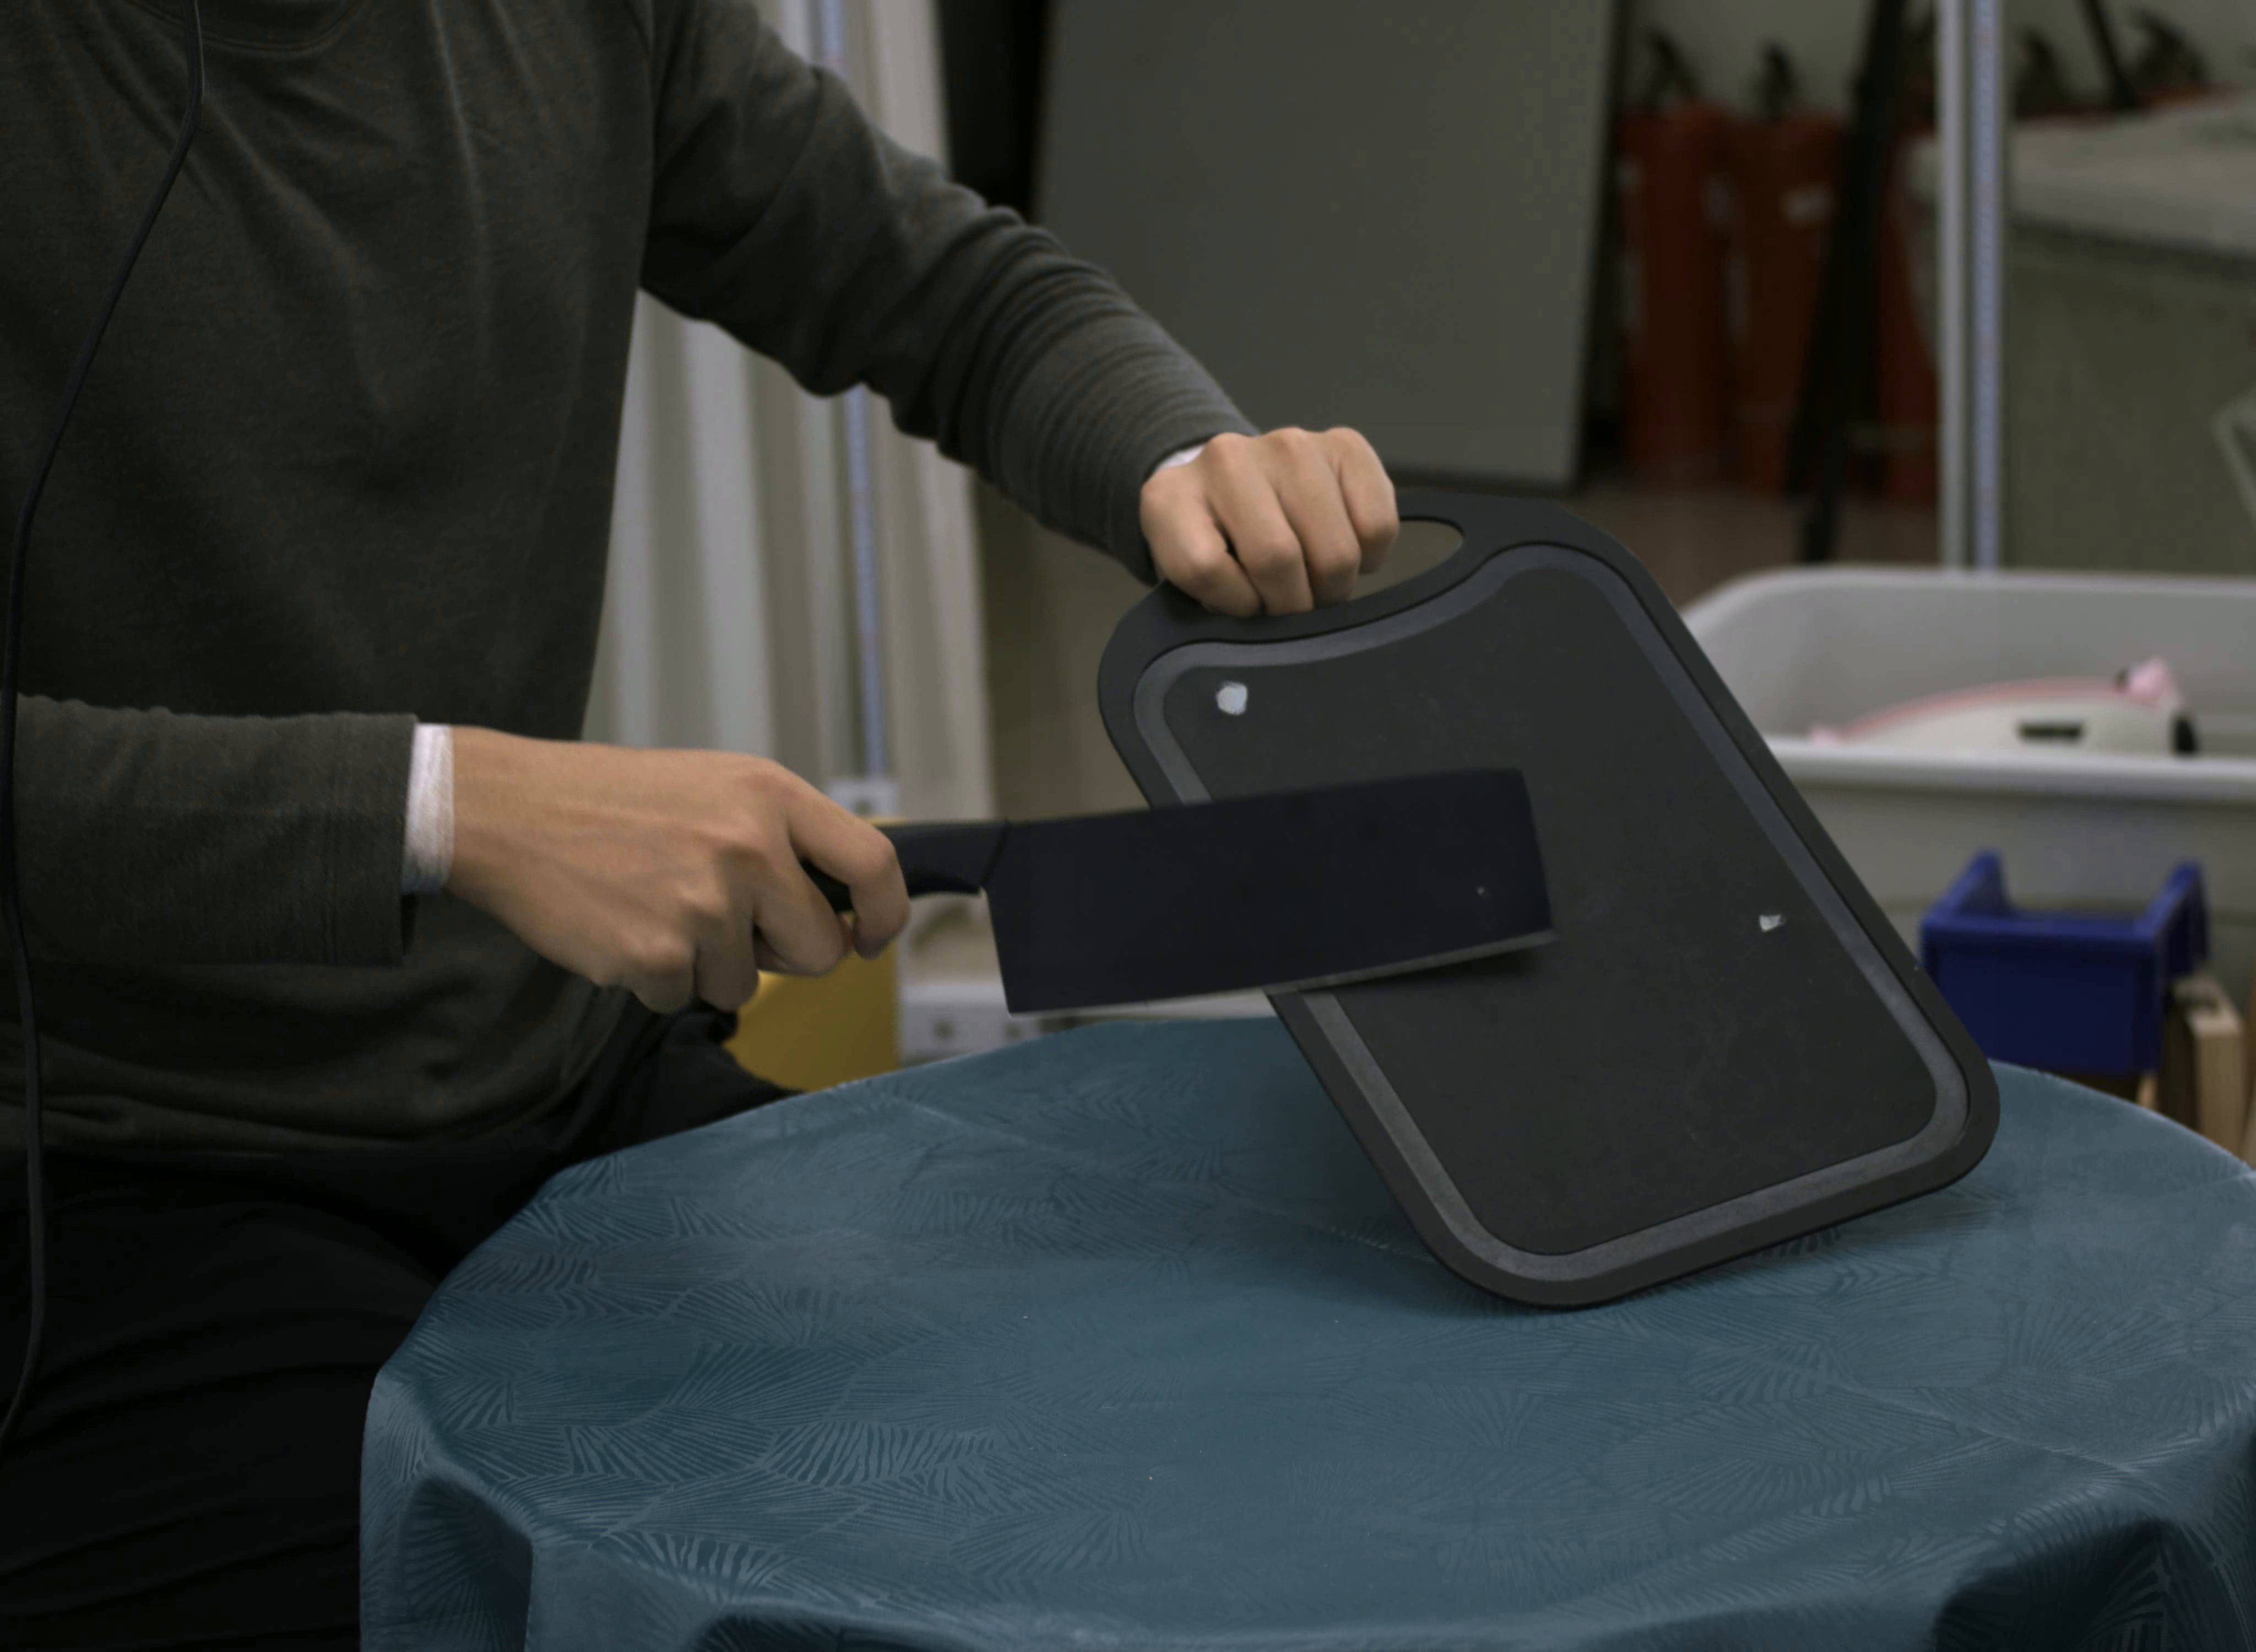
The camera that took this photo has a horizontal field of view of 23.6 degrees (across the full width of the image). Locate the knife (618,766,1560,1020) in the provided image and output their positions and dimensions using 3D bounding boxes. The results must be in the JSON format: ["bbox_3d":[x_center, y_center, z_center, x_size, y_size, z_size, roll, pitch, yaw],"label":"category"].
[{"bbox_3d":[-0.012,0.024,1.704,0.297,0.082,0.021,-3,-24,-5],"label":"knife"}]

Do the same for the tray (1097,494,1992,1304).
[{"bbox_3d":[0.127,0.011,1.743,0.207,0.010,0.329,-16,54,-21],"label":"tray"}]
